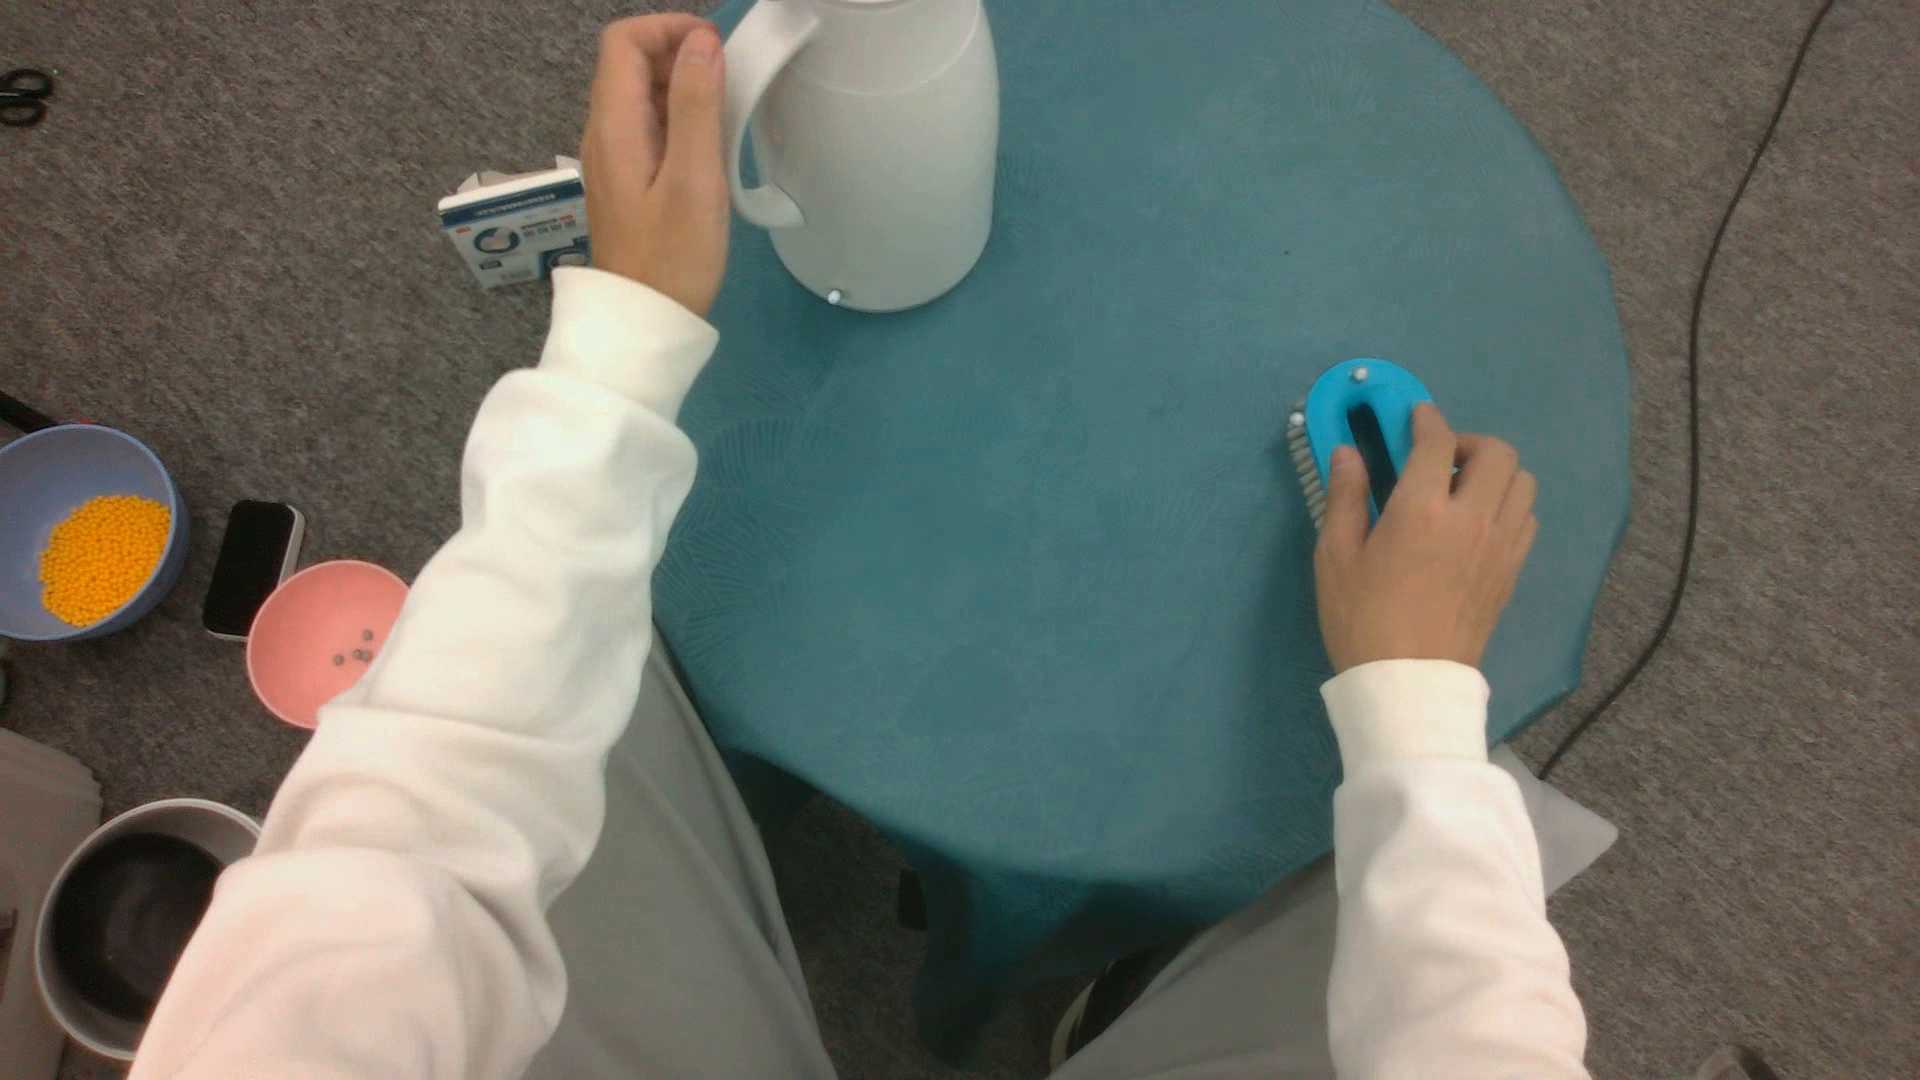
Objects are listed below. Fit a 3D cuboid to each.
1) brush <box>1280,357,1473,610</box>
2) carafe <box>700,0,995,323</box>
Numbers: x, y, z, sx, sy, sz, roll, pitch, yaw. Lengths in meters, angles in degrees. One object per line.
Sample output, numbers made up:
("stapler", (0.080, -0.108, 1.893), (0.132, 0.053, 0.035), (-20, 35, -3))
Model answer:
("brush", (0.232, -0.038, 0.748), (0.084, 0.063, 0.142), (-8, 72, -8))
("carafe", (-0.058, -0.211, 0.700), (0.132, 0.248, 0.168), (41, 77, 11))
